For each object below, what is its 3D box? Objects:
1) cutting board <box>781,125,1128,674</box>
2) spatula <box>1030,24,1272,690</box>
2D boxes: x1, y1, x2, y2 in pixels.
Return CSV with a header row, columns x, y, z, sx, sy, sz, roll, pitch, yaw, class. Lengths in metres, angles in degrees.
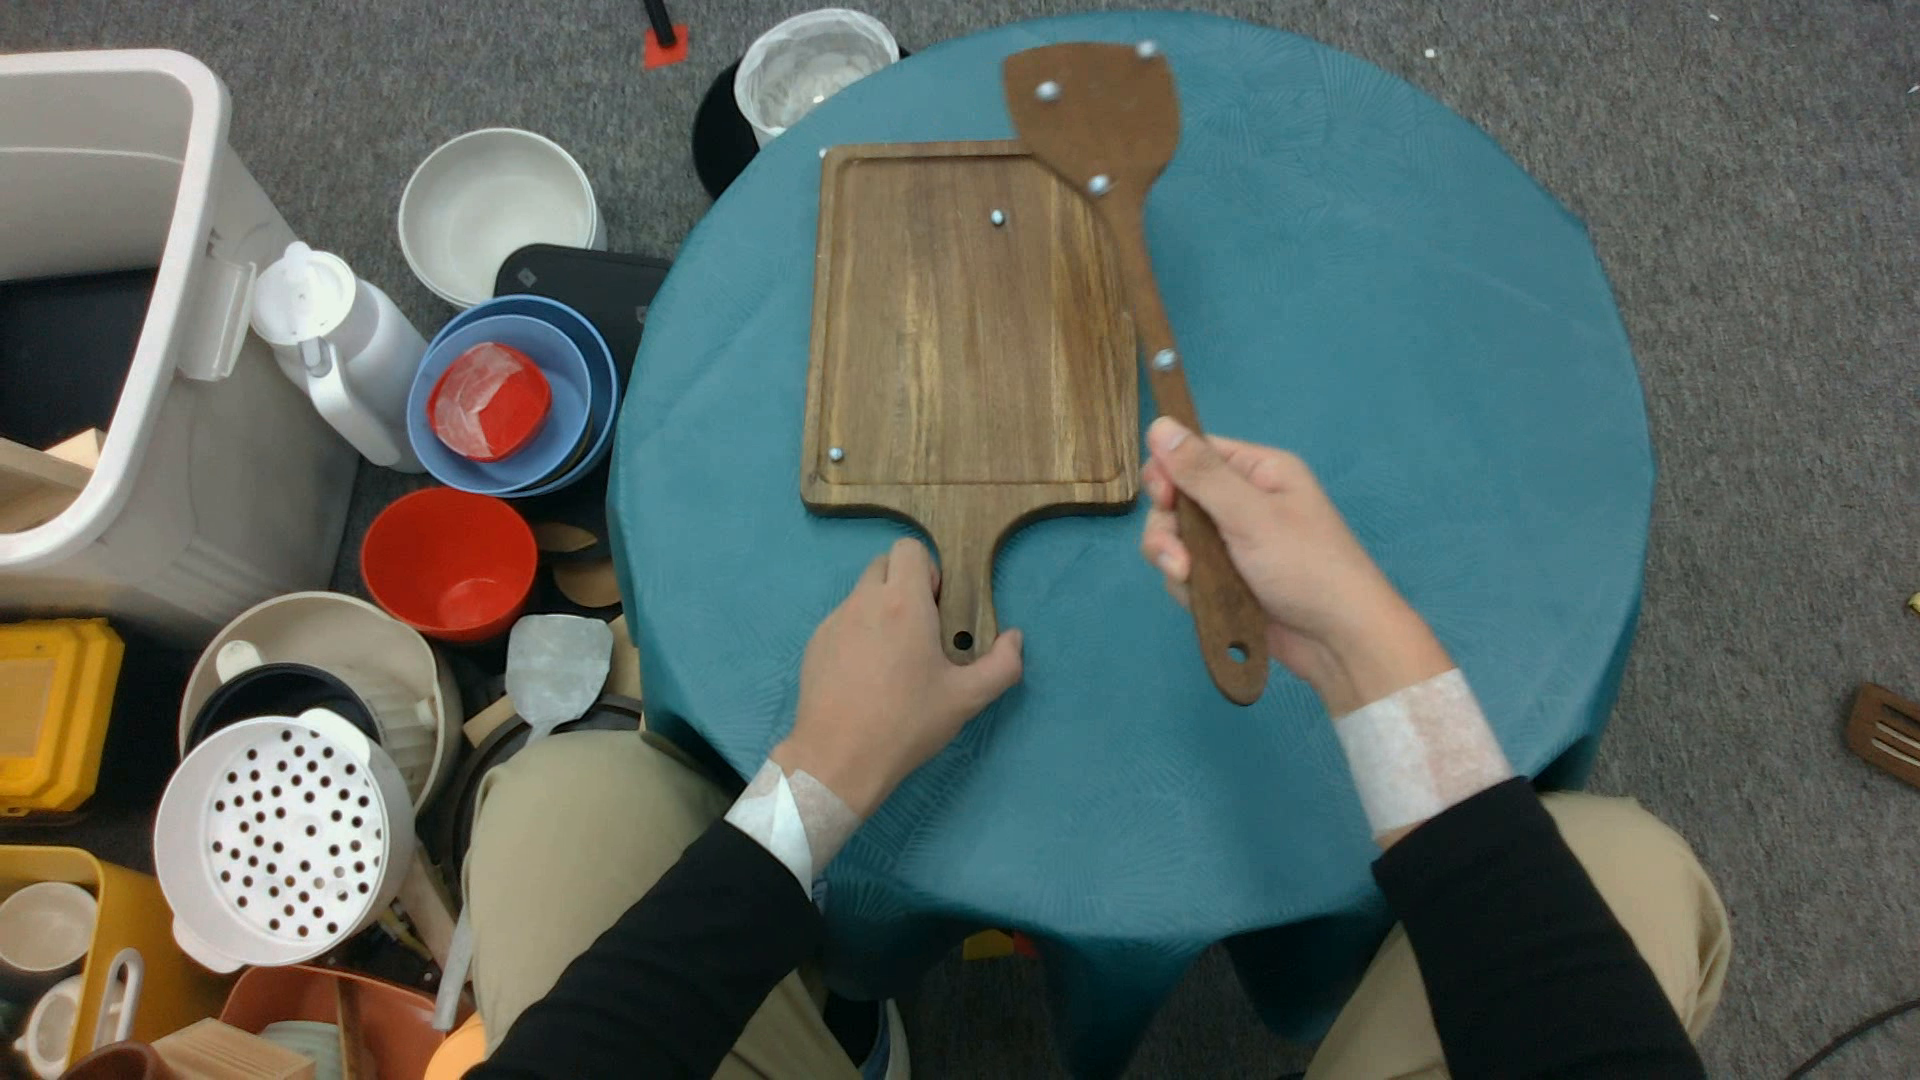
x,y,z,sx,sy,sz,roll,pitch,yaw,class
-0.004,-0.093,0.810,0.201,0.023,0.353,-1,68,4,cutting board
0.101,-0.110,0.668,0.096,0.016,0.387,-3,63,-7,spatula
